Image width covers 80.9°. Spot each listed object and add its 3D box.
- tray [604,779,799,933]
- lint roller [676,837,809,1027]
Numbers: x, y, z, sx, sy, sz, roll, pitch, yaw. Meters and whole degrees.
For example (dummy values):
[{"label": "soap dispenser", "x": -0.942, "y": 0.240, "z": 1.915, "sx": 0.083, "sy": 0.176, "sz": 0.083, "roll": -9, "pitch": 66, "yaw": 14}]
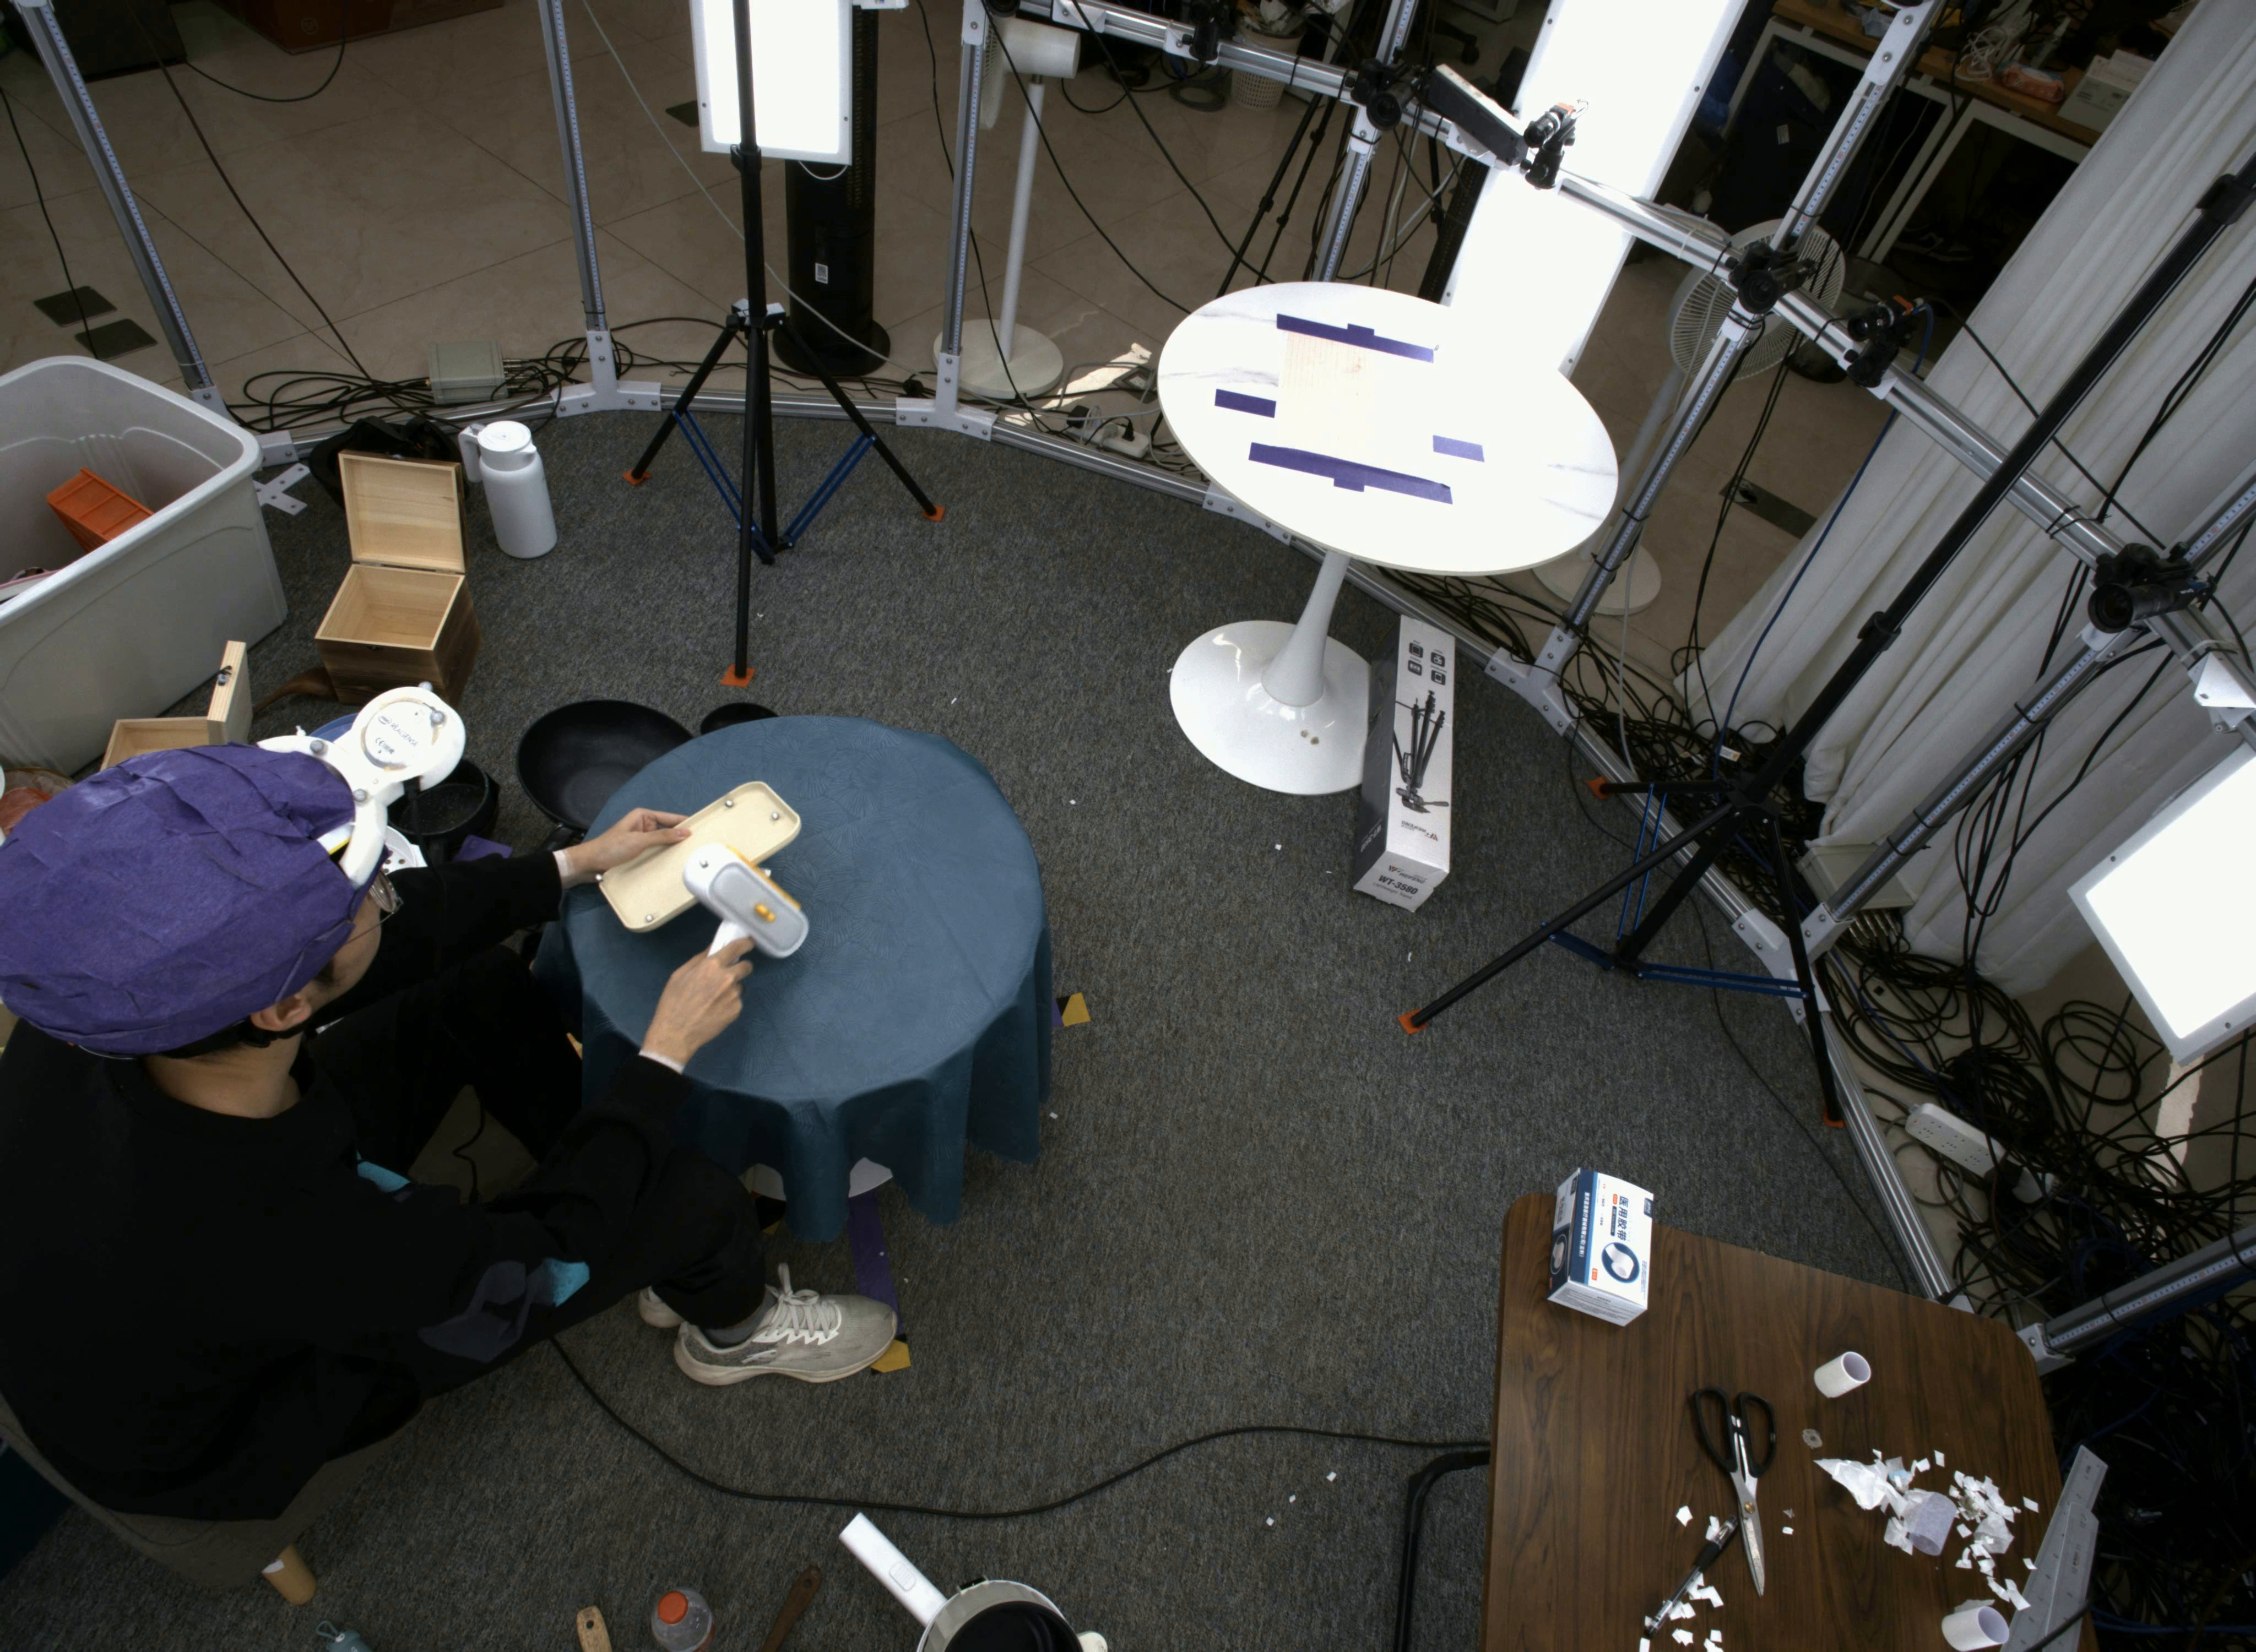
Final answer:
[{"label": "tray", "x": -0.521, "y": 0.033, "z": 1.571, "sx": 0.240, "sy": 0.018, "sz": 0.164, "roll": -36, "pitch": 40, "yaw": -19}, {"label": "lint roller", "x": -0.462, "y": 0.133, "z": 1.490, "sx": 0.072, "sy": 0.199, "sz": 0.192, "roll": 14, "pitch": 70, "yaw": 27}]
